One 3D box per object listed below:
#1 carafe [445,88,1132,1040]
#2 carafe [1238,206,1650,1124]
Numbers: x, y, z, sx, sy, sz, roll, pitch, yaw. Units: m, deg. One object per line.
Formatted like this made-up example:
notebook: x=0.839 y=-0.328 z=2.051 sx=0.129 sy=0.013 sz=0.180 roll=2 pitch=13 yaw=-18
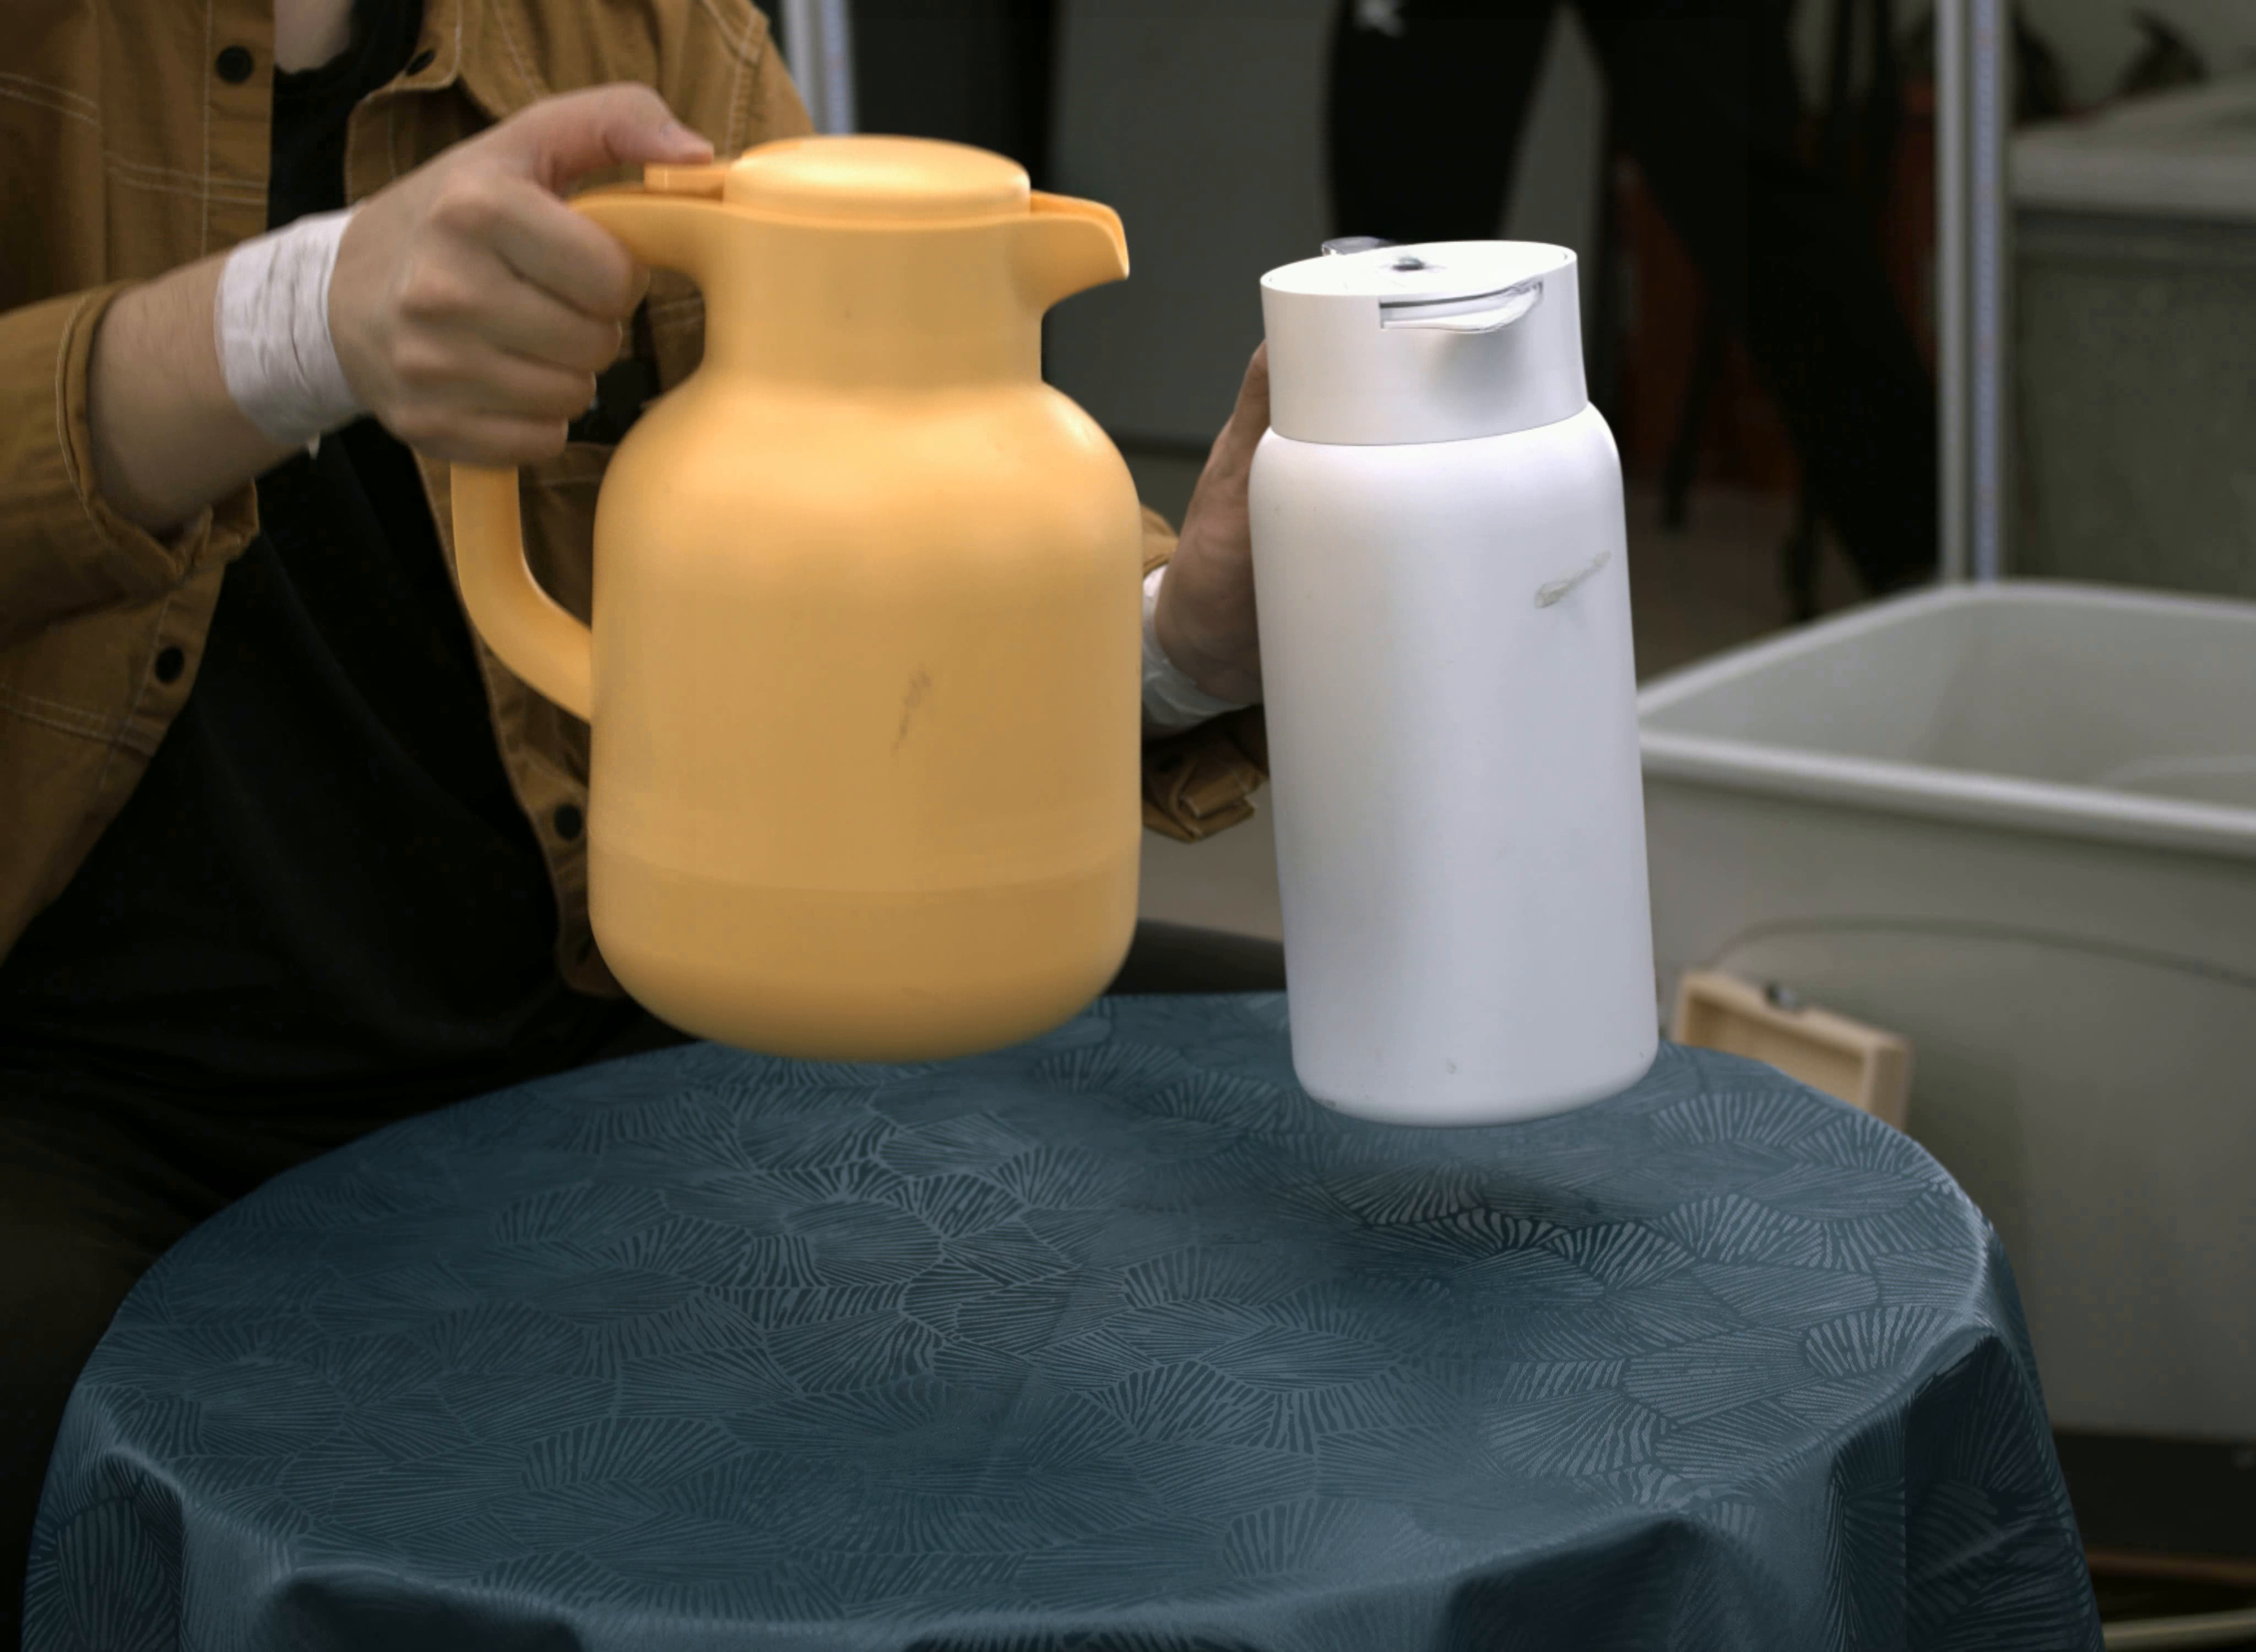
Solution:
carafe: x=-0.098 y=-0.080 z=1.565 sx=0.200 sy=0.263 sz=0.163 roll=5 pitch=12 yaw=7
carafe: x=0.091 y=-0.053 z=1.697 sx=0.121 sy=0.271 sz=0.174 roll=-11 pitch=14 yaw=-13
